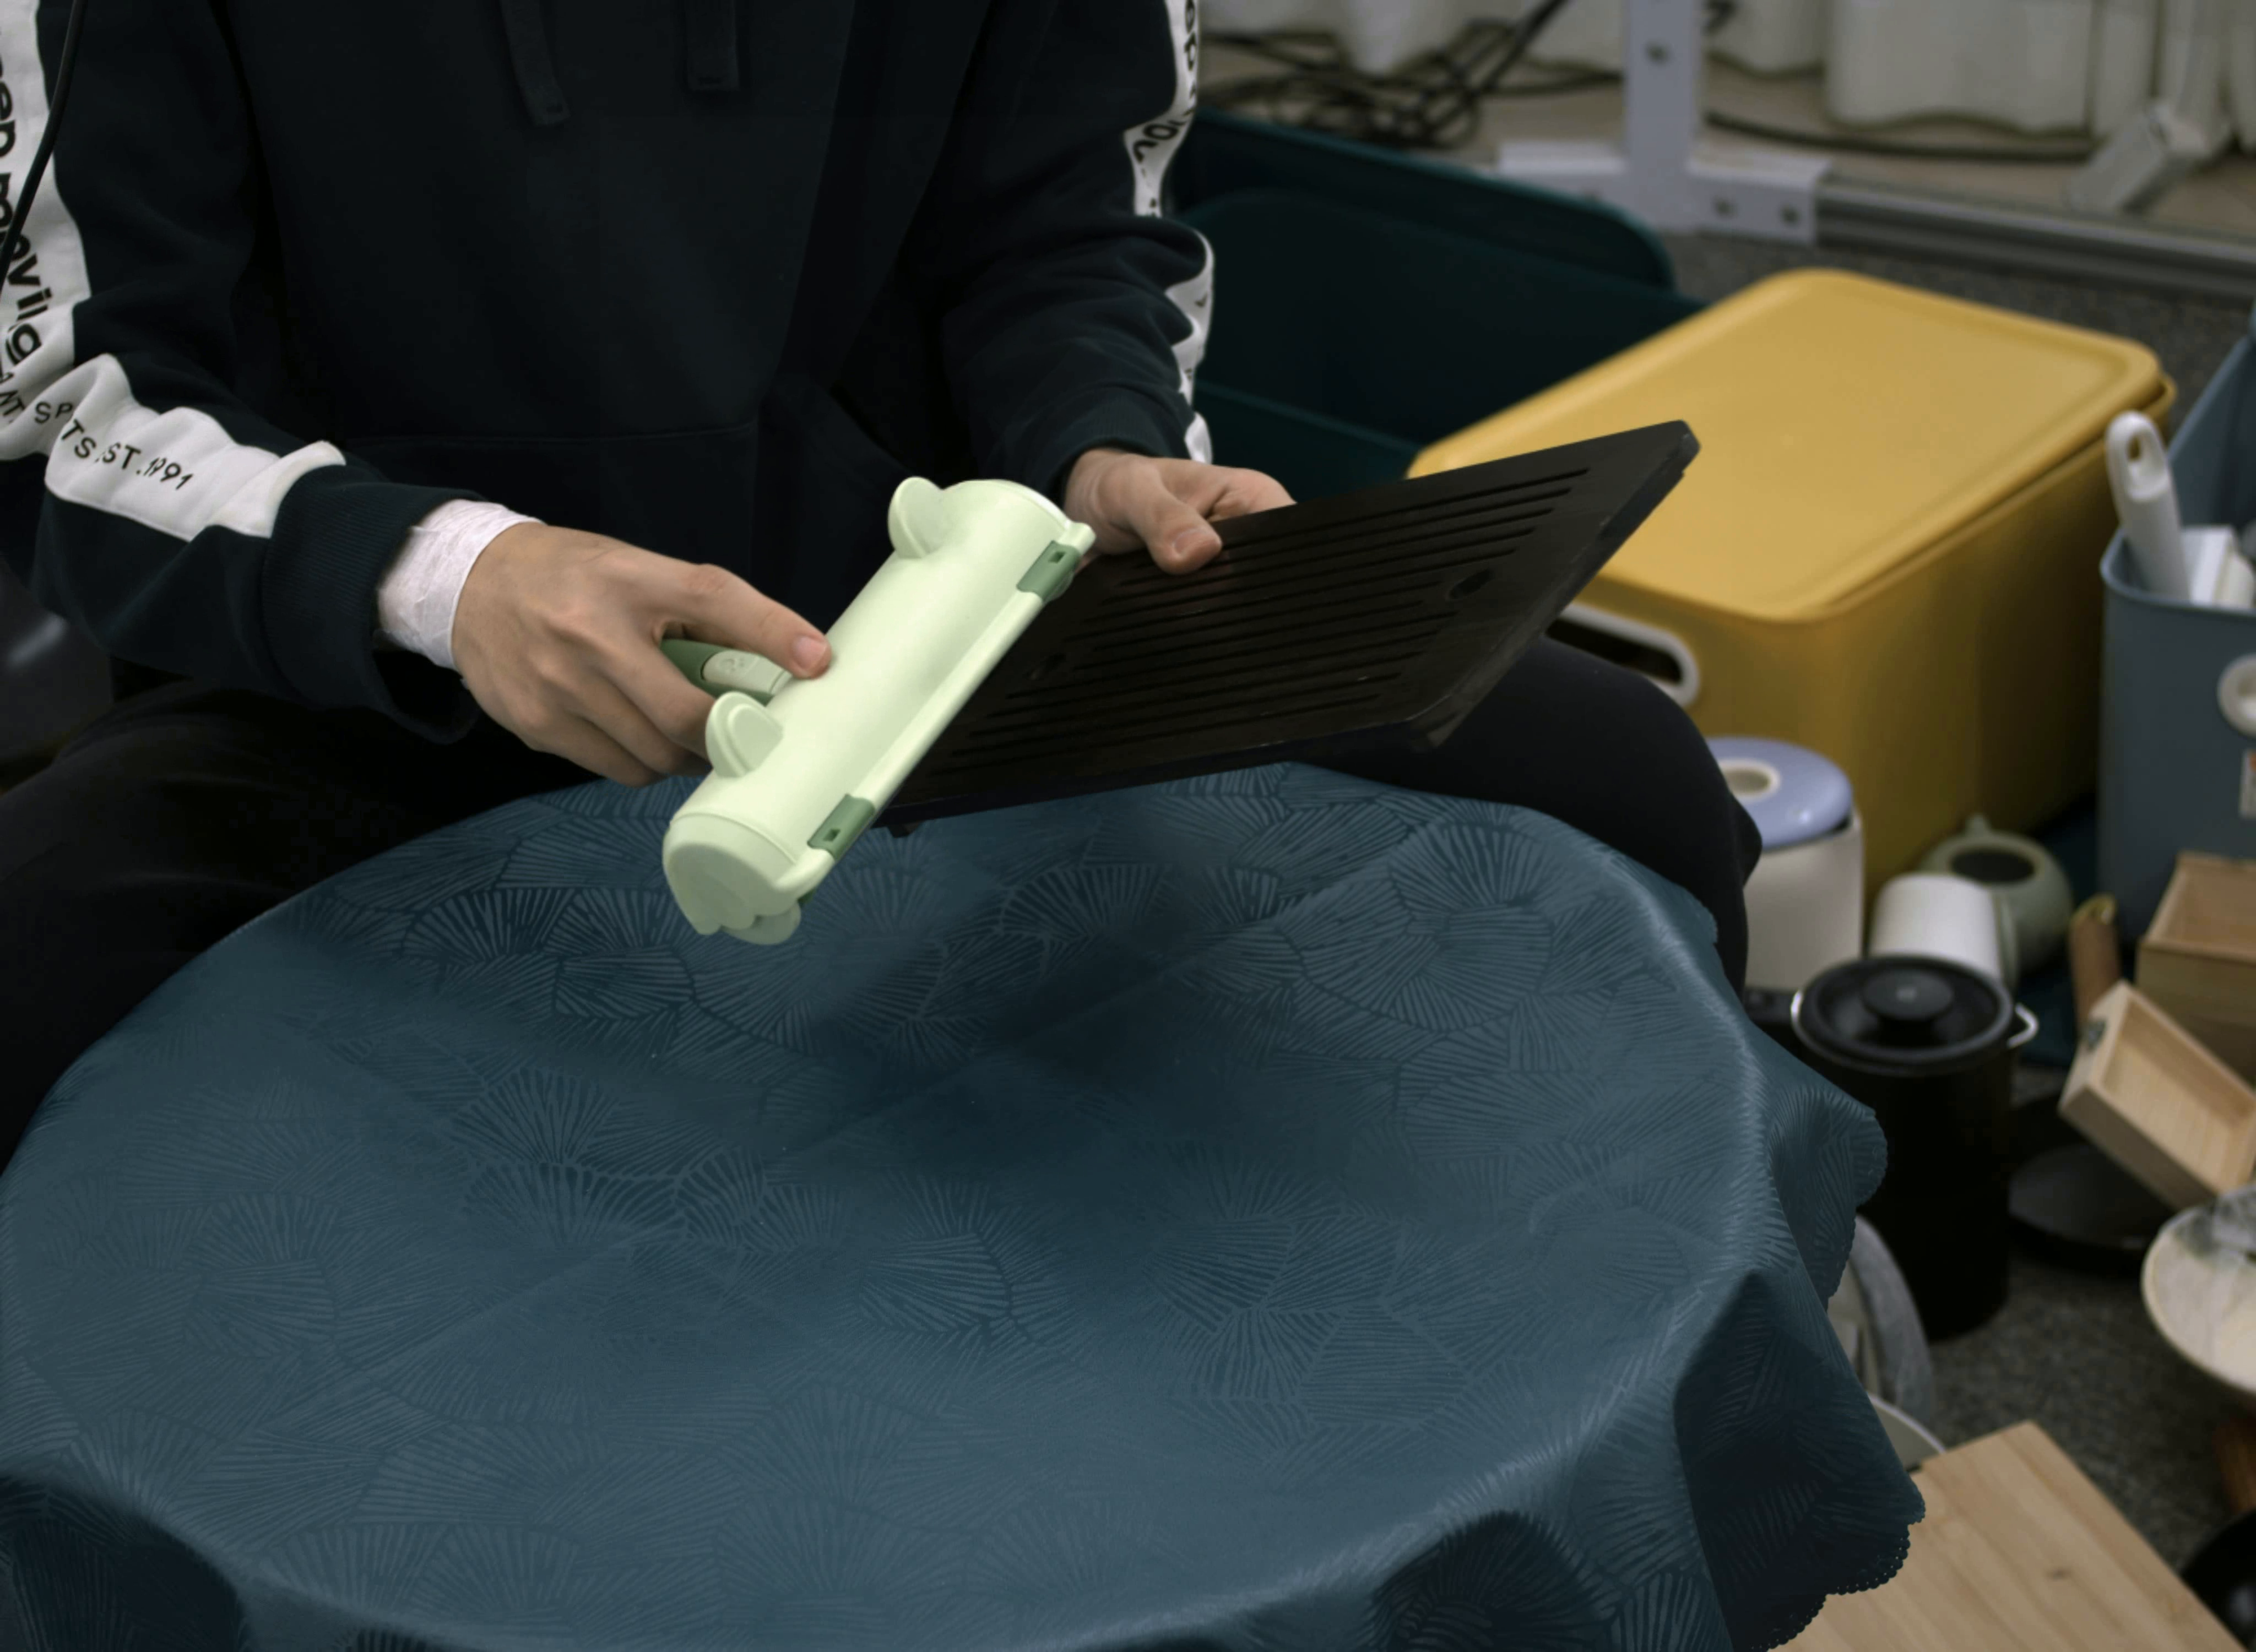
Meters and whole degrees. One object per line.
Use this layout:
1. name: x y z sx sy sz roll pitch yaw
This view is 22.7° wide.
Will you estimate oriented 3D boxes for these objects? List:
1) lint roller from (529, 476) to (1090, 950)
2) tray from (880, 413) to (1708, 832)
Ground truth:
1. lint roller: -0.133 -0.055 1.886 0.182 0.081 0.202 12 46 28
2. tray: 0.049 -0.064 1.905 0.302 0.018 0.173 -10 29 48
